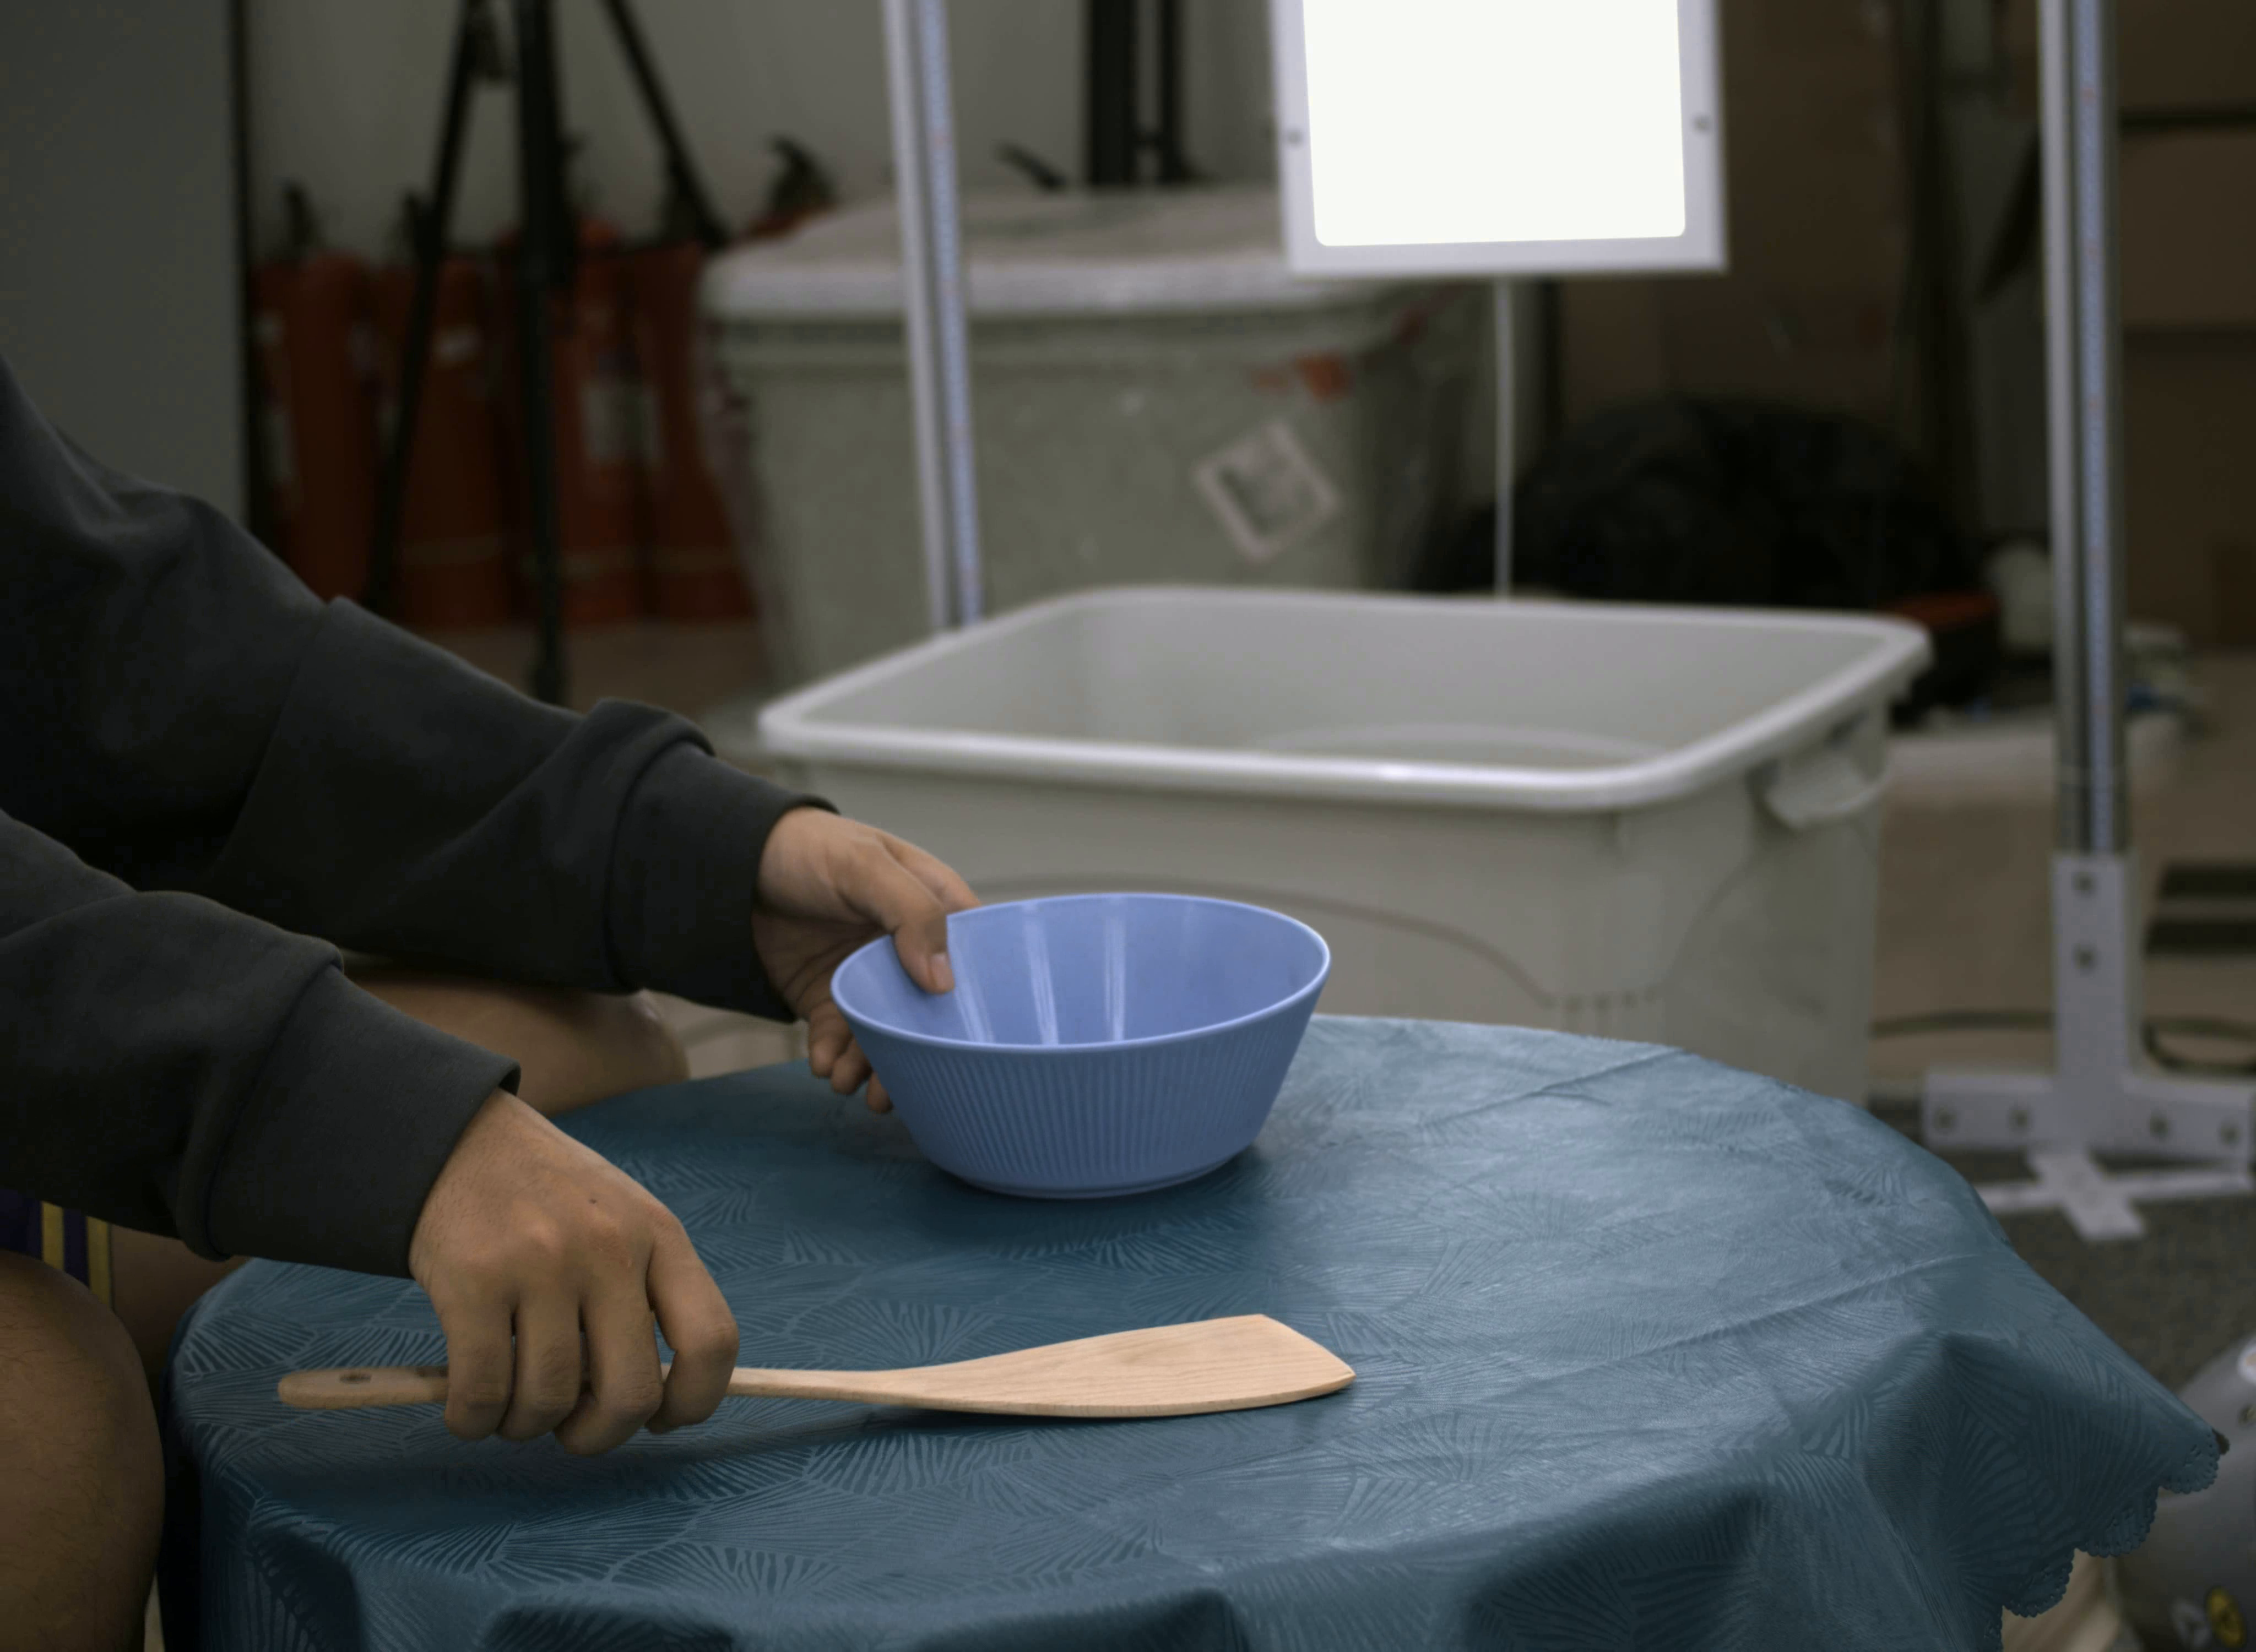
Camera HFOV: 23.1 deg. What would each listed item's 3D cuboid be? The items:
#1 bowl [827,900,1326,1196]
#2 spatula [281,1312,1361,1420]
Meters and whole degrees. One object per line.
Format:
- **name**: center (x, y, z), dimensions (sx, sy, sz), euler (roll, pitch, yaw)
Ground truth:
- **bowl**: center (-0.016, 0.081, 1.935), dimensions (0.175, 0.070, 0.176), euler (-4, 16, 0)
- **spatula**: center (-0.095, 0.168, 1.690), dimensions (0.324, 0.016, 0.080), euler (0, 13, -9)
